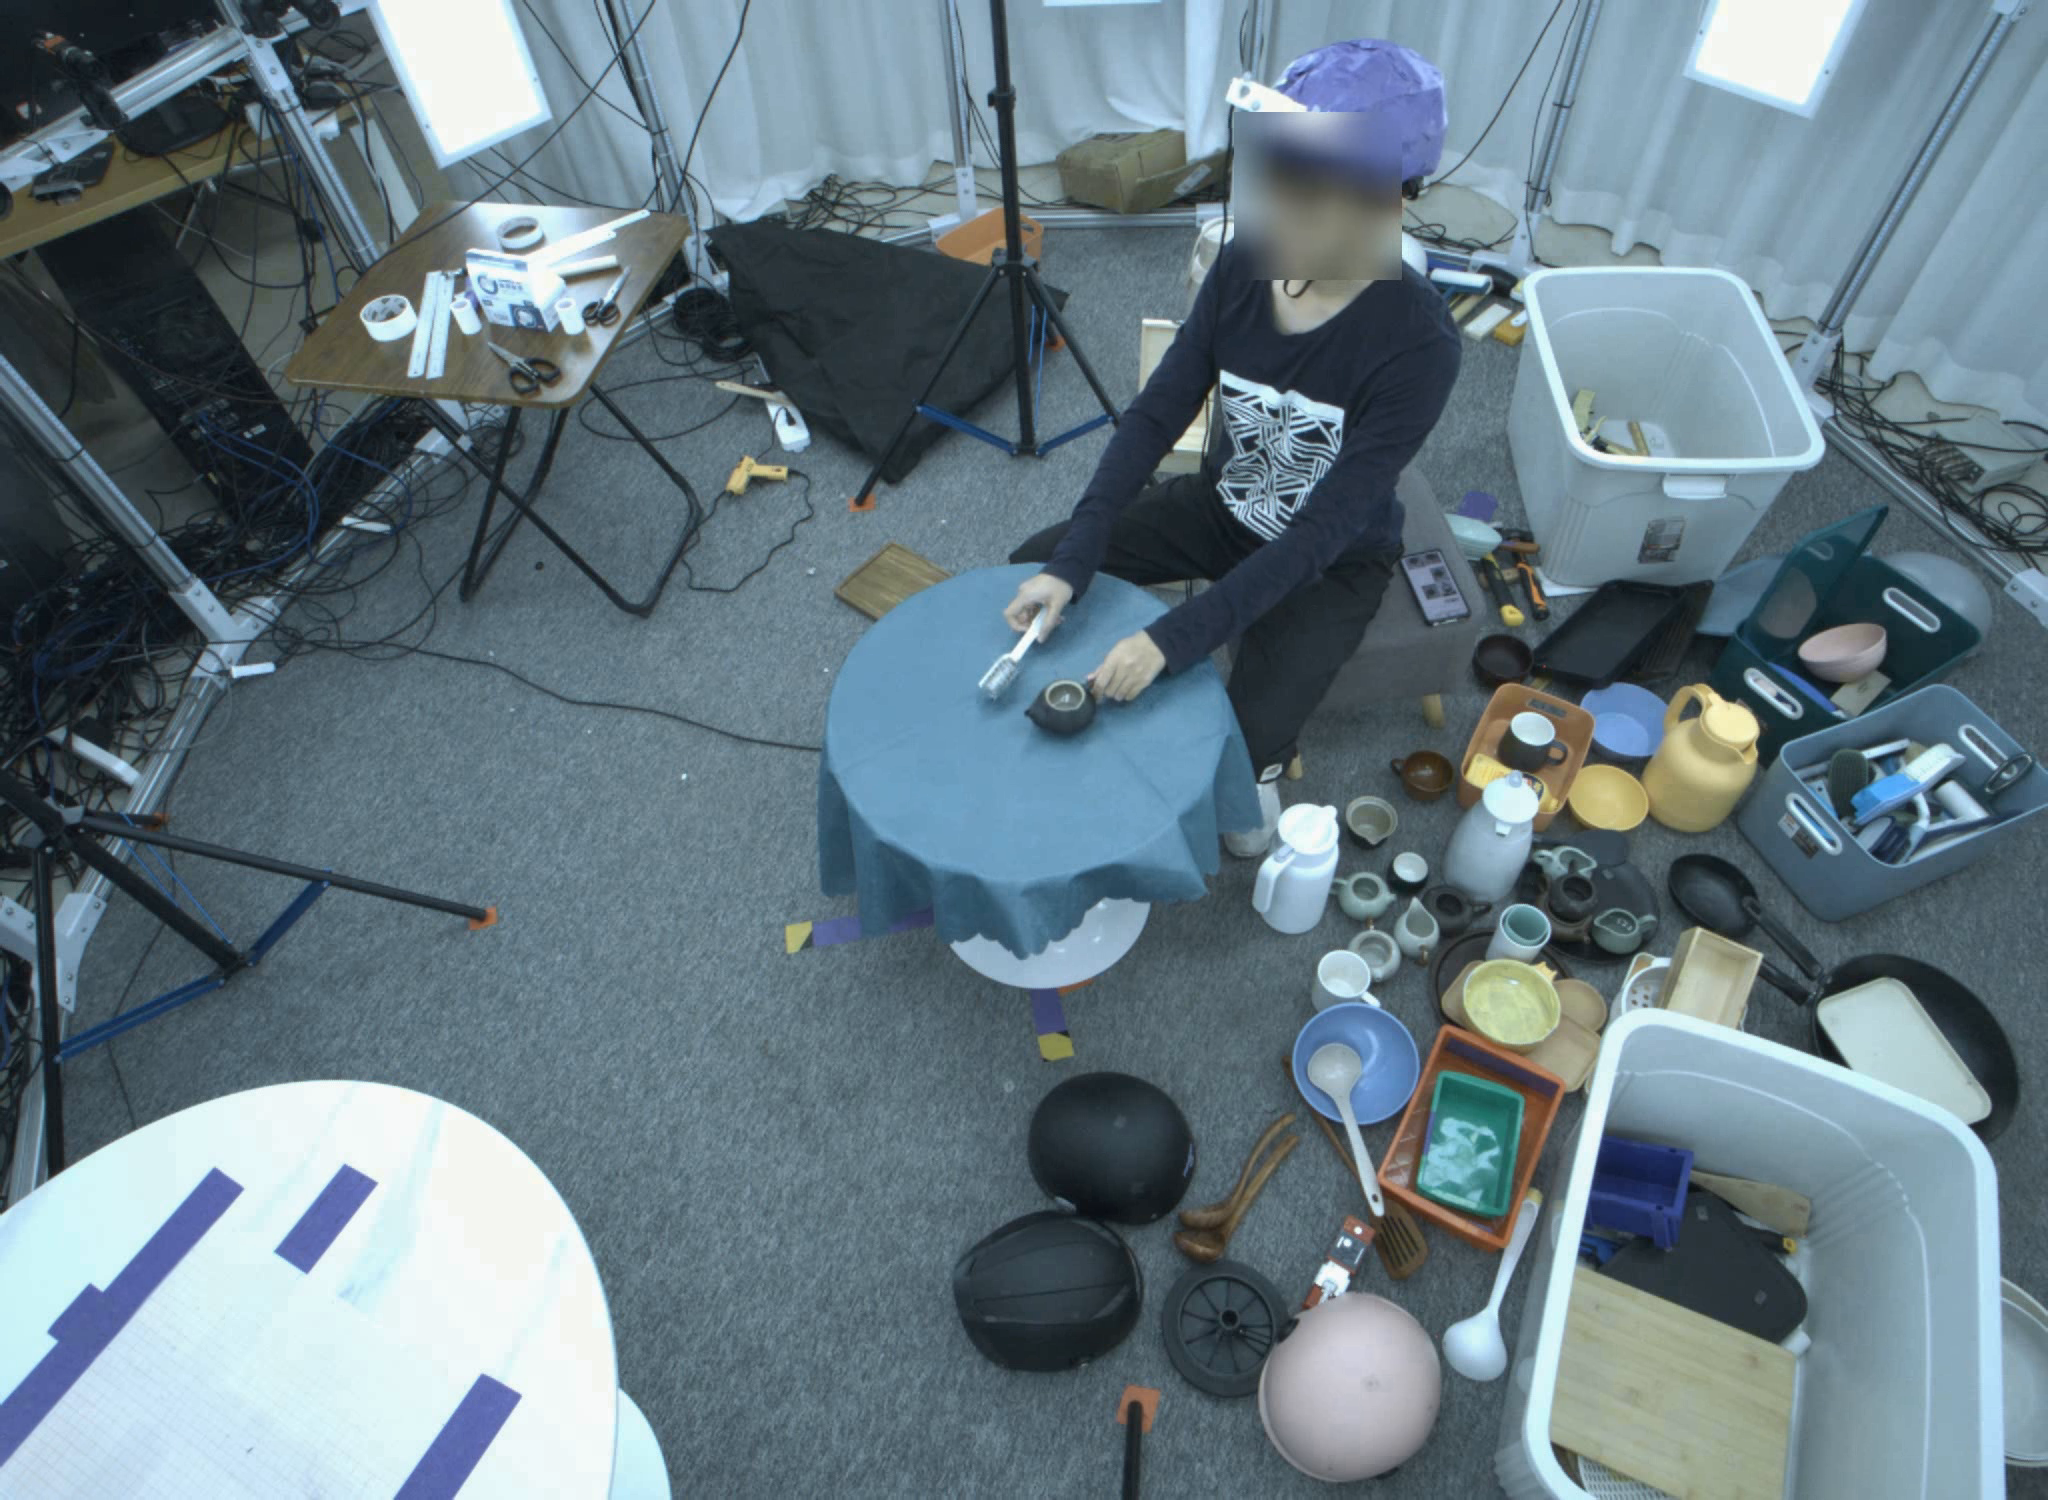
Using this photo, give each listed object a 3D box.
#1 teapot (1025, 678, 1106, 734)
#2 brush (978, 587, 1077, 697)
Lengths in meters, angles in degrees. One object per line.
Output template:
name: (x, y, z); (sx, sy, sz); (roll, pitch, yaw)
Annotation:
teapot: (0.062, -0.065, 1.791); (0.134, 0.053, 0.089); (-26, 60, -15)
brush: (0.012, -0.169, 1.856); (0.034, 0.050, 0.244); (42, 67, -4)
